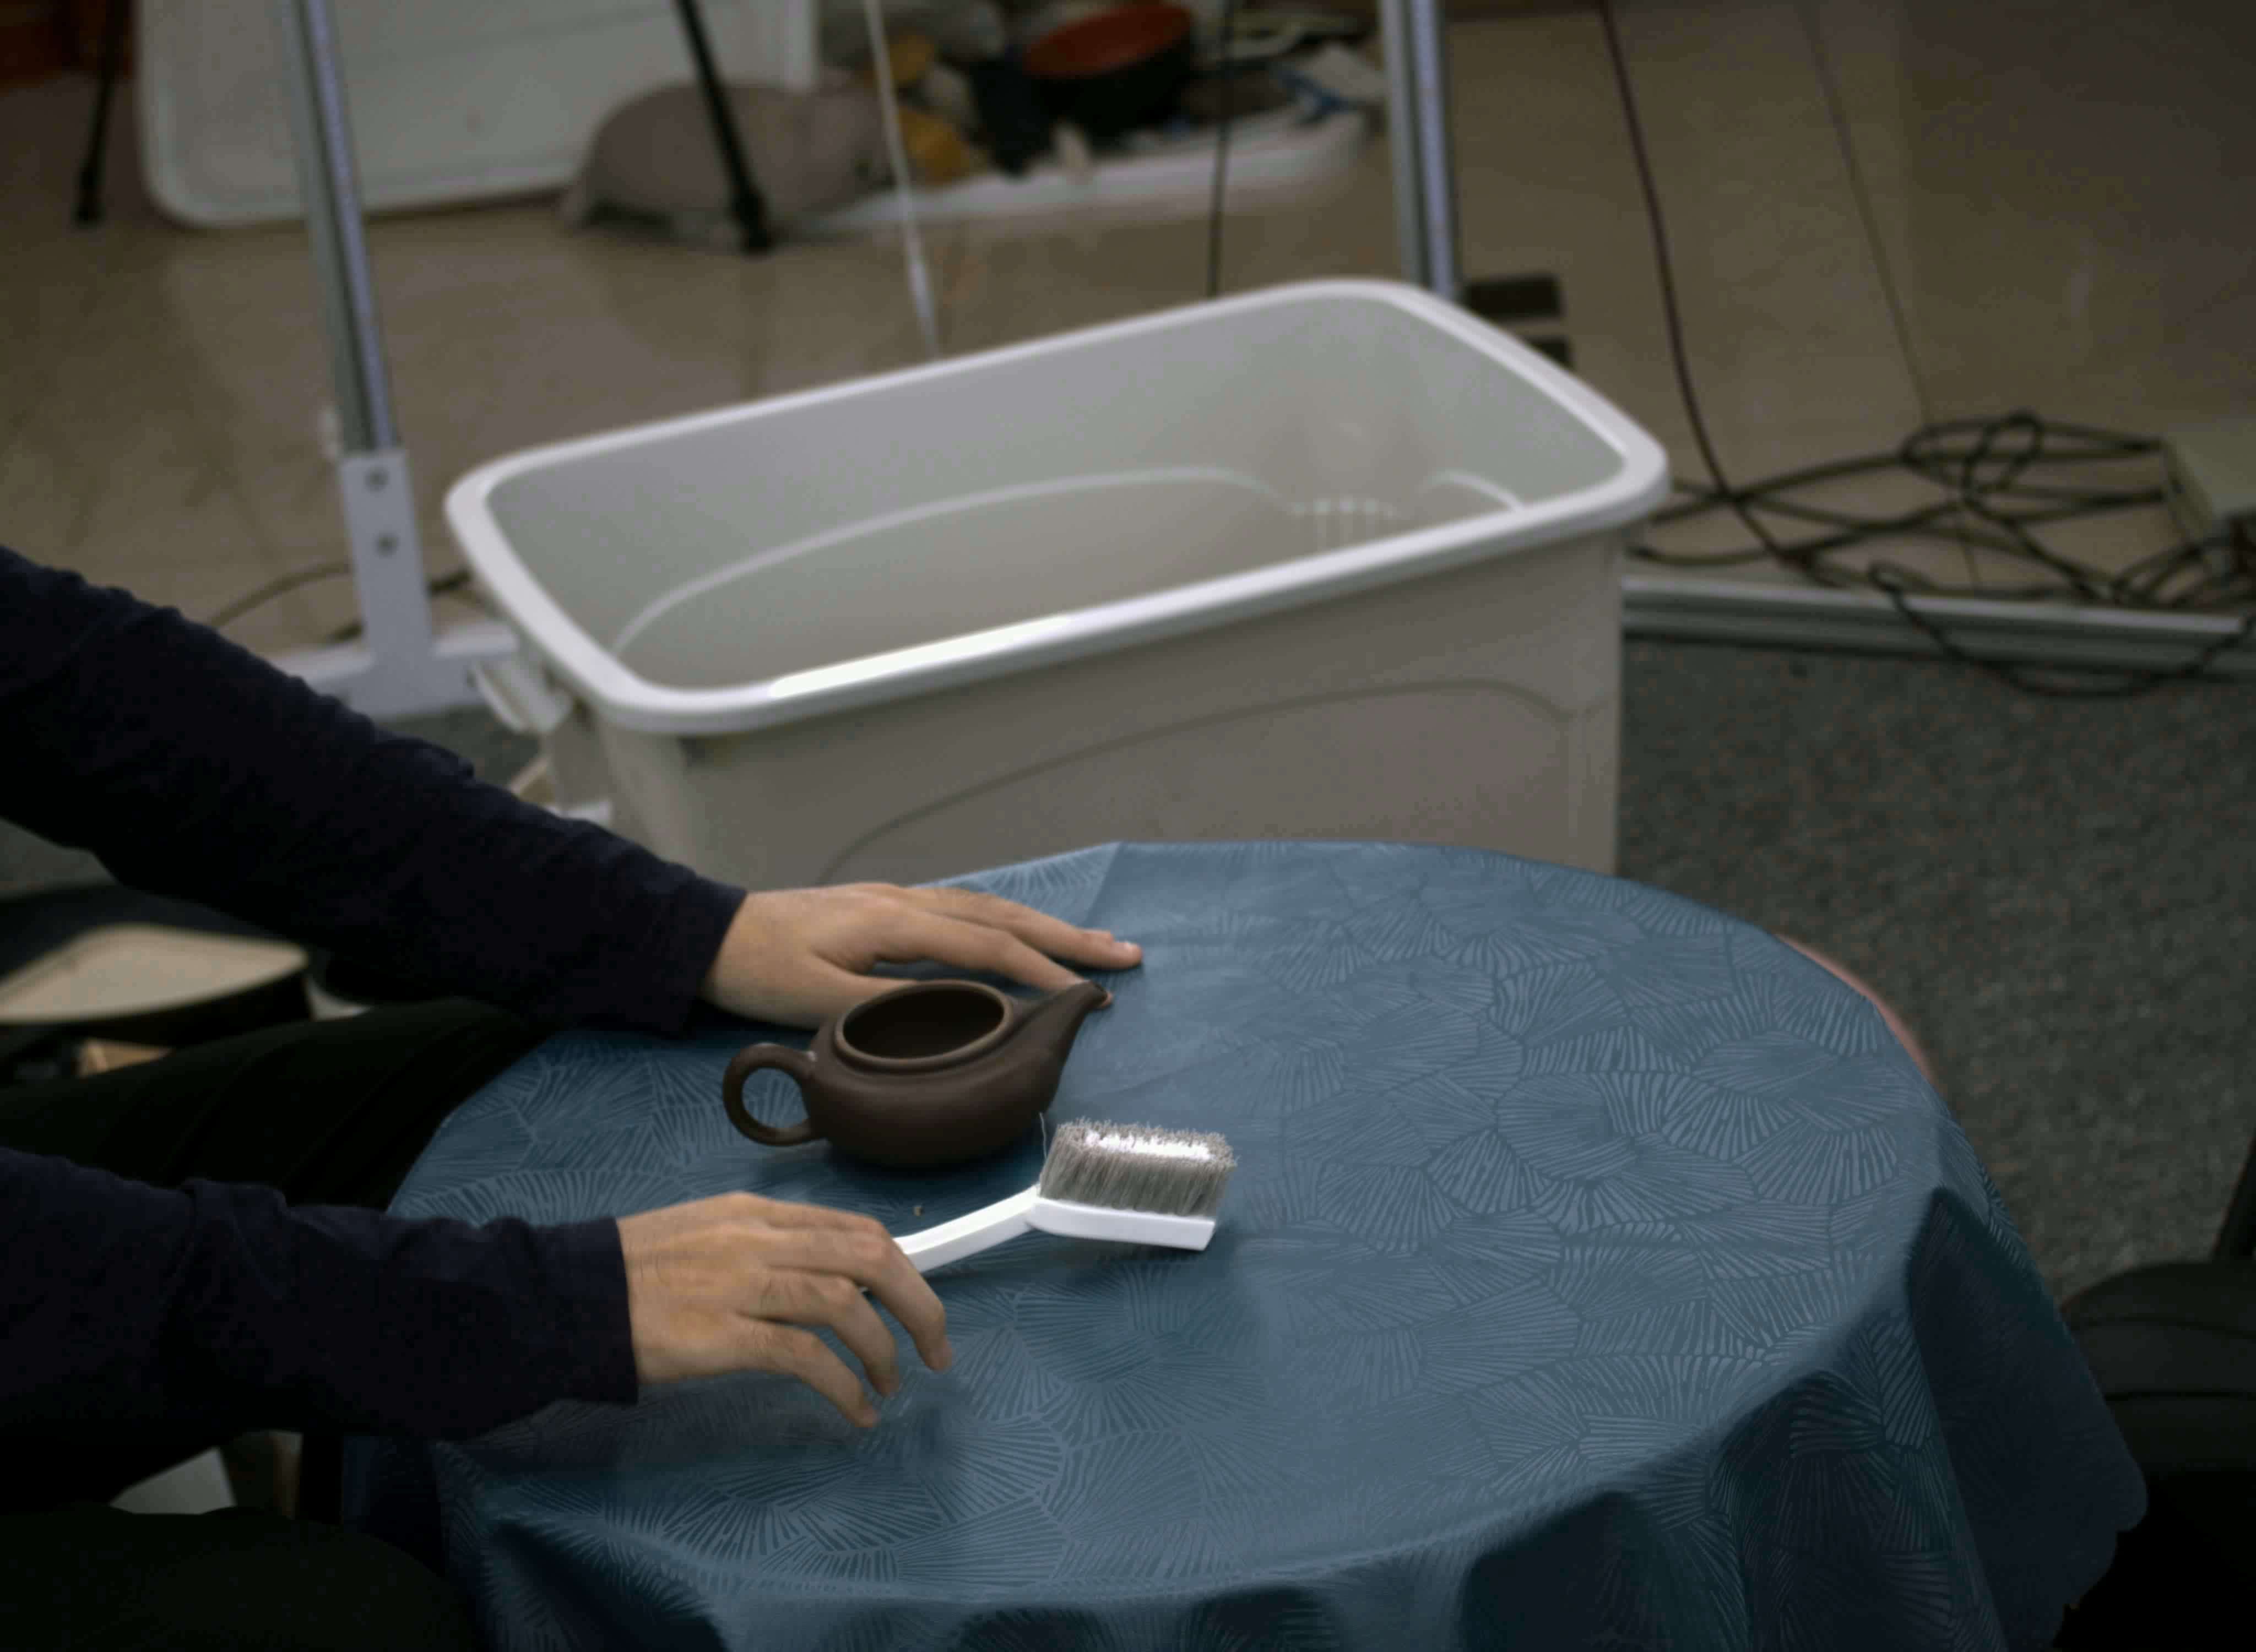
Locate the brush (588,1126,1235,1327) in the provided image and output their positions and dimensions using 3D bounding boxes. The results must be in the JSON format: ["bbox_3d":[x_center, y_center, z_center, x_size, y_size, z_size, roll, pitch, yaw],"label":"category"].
[{"bbox_3d":[-0.081,0.146,2.093,0.243,0.051,0.034,-8,29,-3],"label":"brush"}]

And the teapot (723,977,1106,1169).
[{"bbox_3d":[-0.081,0.096,2.198,0.153,0.054,0.101,-11,25,-11],"label":"teapot"}]
